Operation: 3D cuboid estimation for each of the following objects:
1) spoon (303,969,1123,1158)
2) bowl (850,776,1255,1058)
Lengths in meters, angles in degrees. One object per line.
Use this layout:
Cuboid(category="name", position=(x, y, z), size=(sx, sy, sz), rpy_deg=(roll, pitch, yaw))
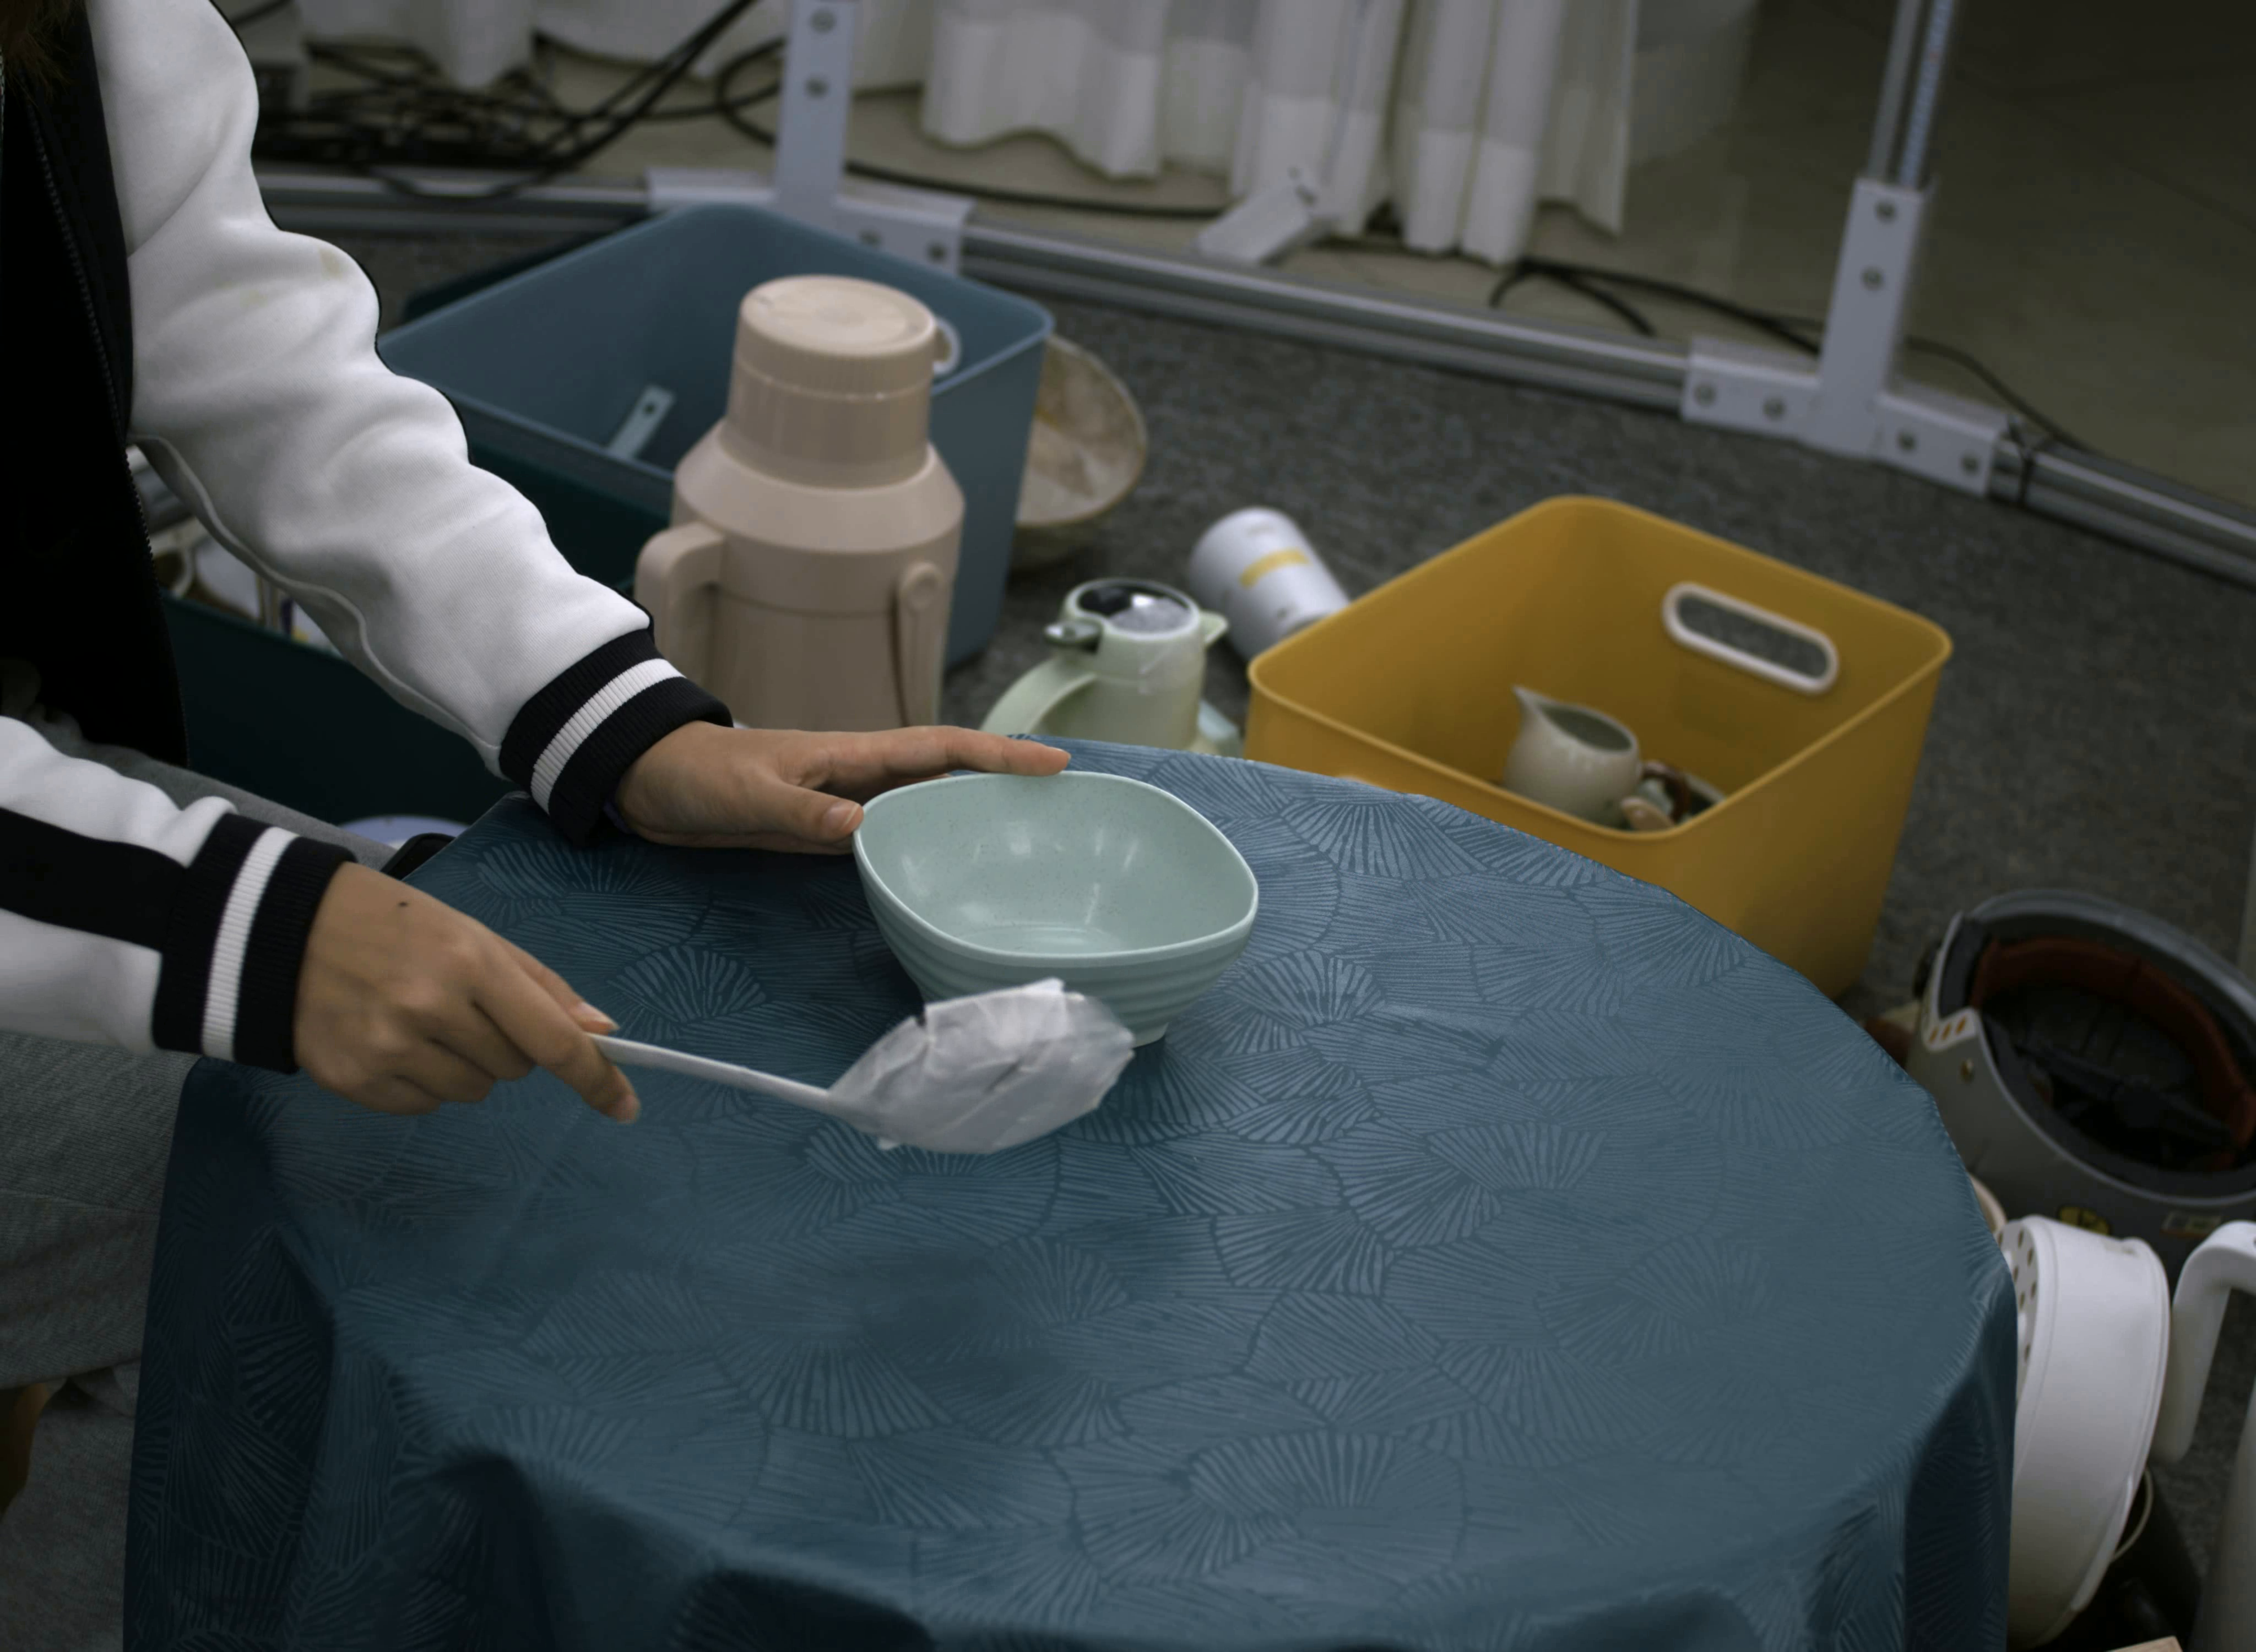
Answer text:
Cuboid(category="spoon", position=(-0.137, 0.060, 1.731), size=(0.278, 0.100, 0.059), rpy_deg=(12, 57, 22))
Cuboid(category="bowl", position=(-0.030, 0.039, 1.903), size=(0.151, 0.058, 0.152), rpy_deg=(5, 27, -3))
